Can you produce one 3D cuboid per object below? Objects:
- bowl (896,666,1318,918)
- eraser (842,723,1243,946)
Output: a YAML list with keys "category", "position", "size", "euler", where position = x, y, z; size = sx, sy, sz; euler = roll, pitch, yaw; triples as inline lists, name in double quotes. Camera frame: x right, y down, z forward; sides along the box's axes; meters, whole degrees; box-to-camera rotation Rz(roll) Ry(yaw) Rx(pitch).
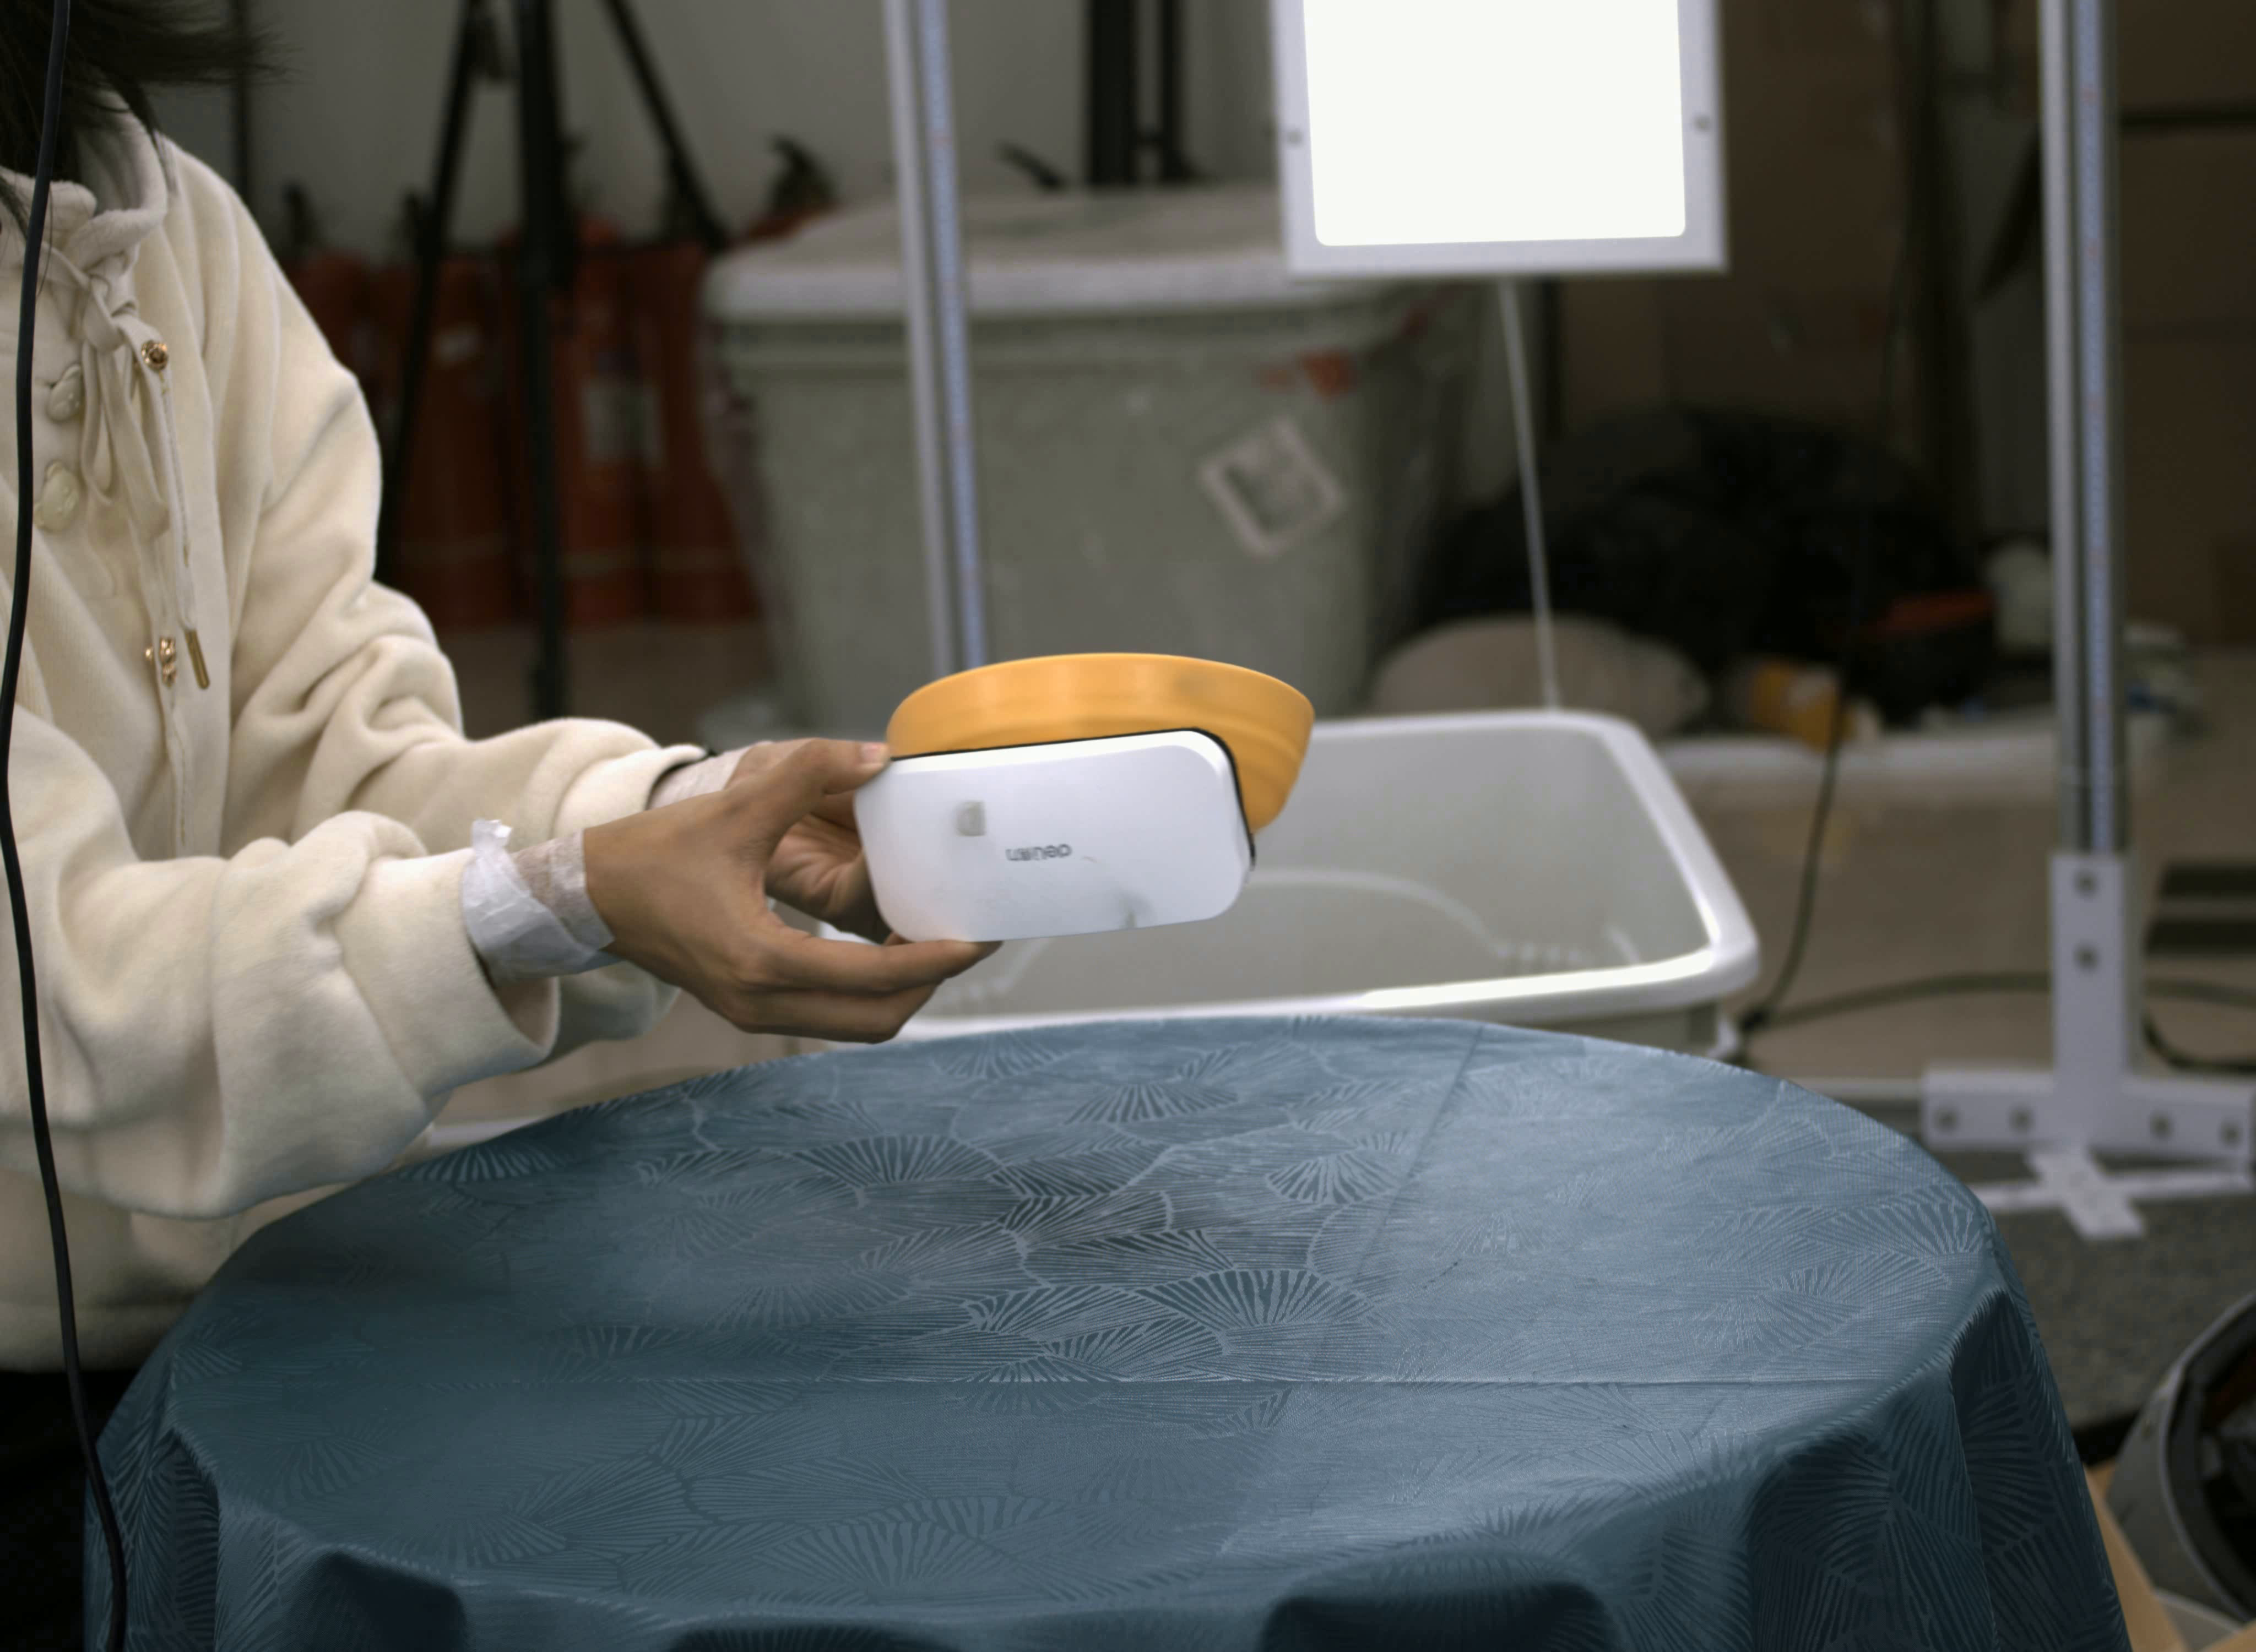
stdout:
- category: "bowl"
  position: [-0.007, -0.006, 1.851]
  size: [0.145, 0.060, 0.146]
  euler: [1, -16, -1]
- category: "eraser"
  position: [-0.028, 0.001, 1.774]
  size: [0.133, 0.063, 0.034]
  euler: [-6, 16, 25]
